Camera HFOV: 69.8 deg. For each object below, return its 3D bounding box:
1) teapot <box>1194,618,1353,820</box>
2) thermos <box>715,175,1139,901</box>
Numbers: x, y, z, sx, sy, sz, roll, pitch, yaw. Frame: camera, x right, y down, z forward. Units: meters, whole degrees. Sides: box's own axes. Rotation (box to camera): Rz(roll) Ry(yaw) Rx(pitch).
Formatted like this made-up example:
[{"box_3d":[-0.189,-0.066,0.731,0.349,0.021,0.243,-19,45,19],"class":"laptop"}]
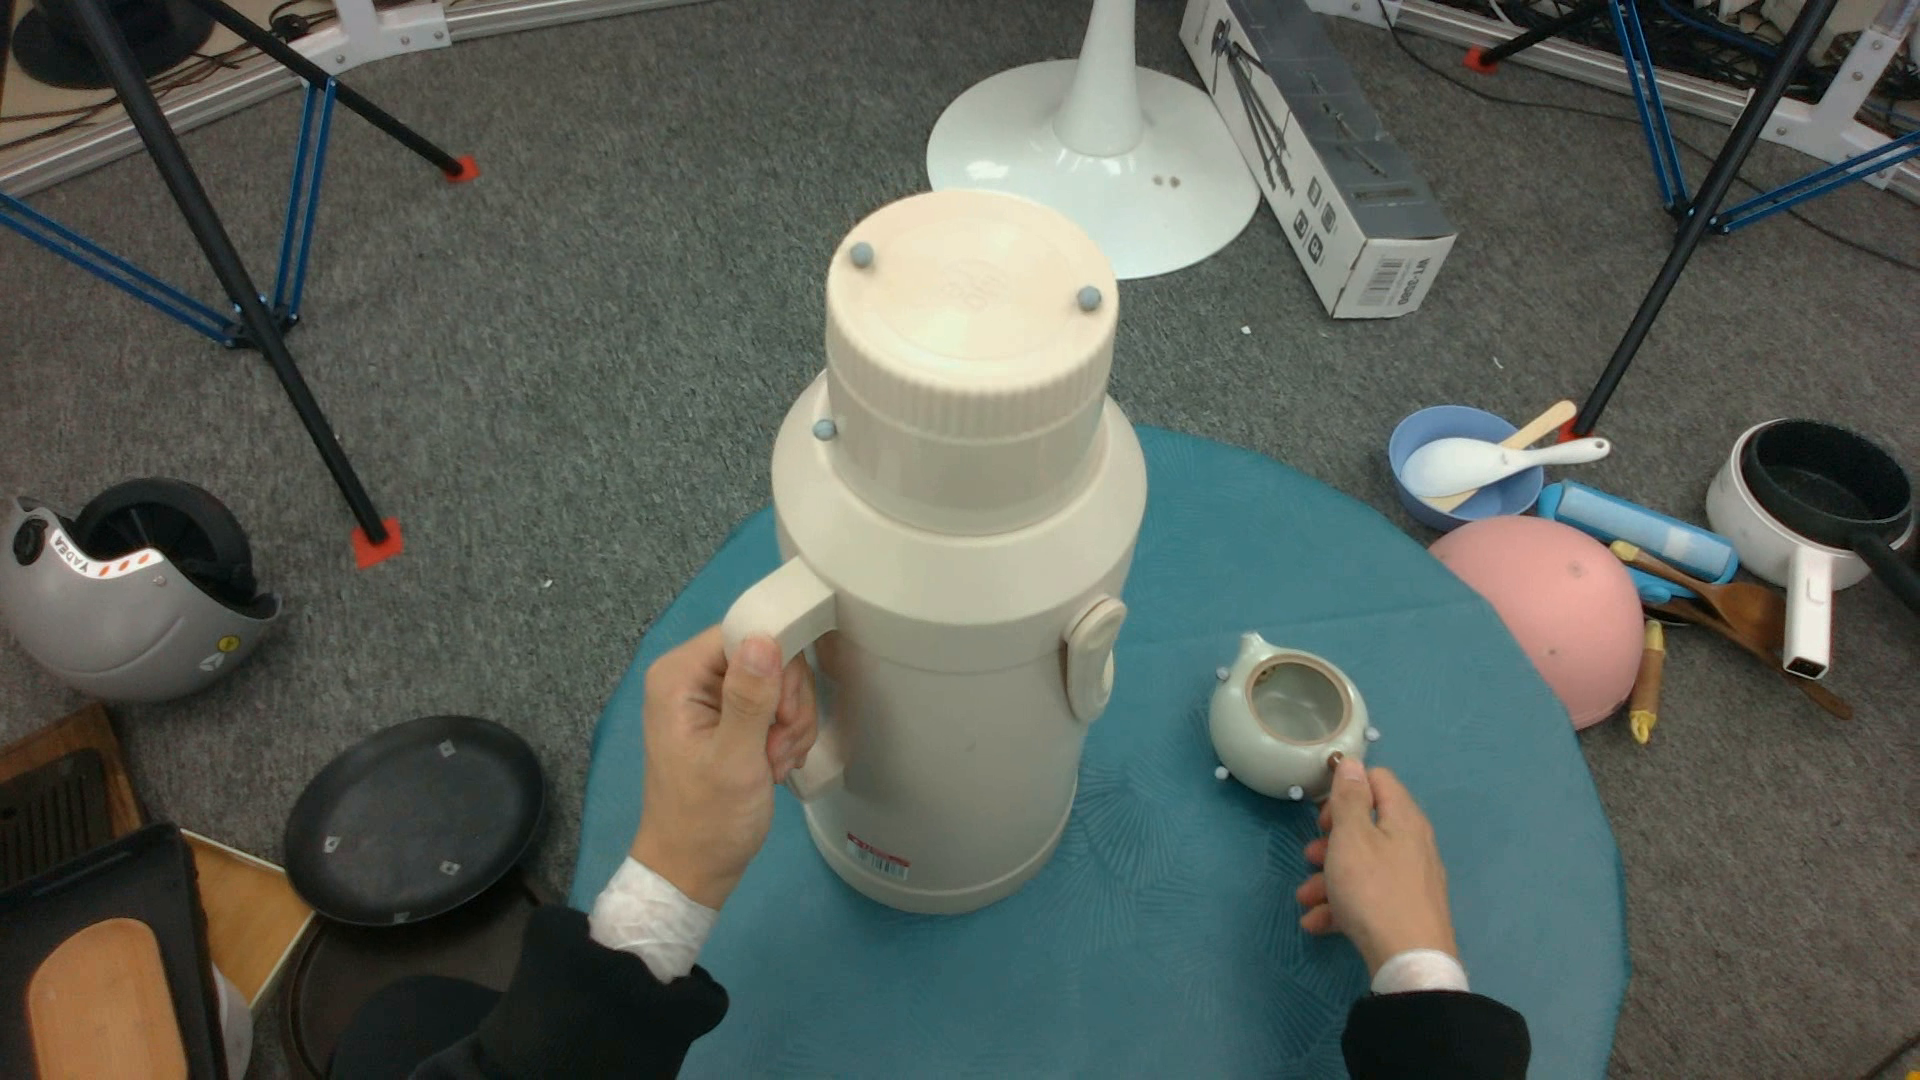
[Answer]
[{"box_3d":[0.188,0.107,0.805,0.092,0.059,0.128,-18,54,-20],"class":"teapot"},{"box_3d":[-0.021,0.028,0.642,0.208,0.404,0.175,-37,66,-27],"class":"thermos"}]
